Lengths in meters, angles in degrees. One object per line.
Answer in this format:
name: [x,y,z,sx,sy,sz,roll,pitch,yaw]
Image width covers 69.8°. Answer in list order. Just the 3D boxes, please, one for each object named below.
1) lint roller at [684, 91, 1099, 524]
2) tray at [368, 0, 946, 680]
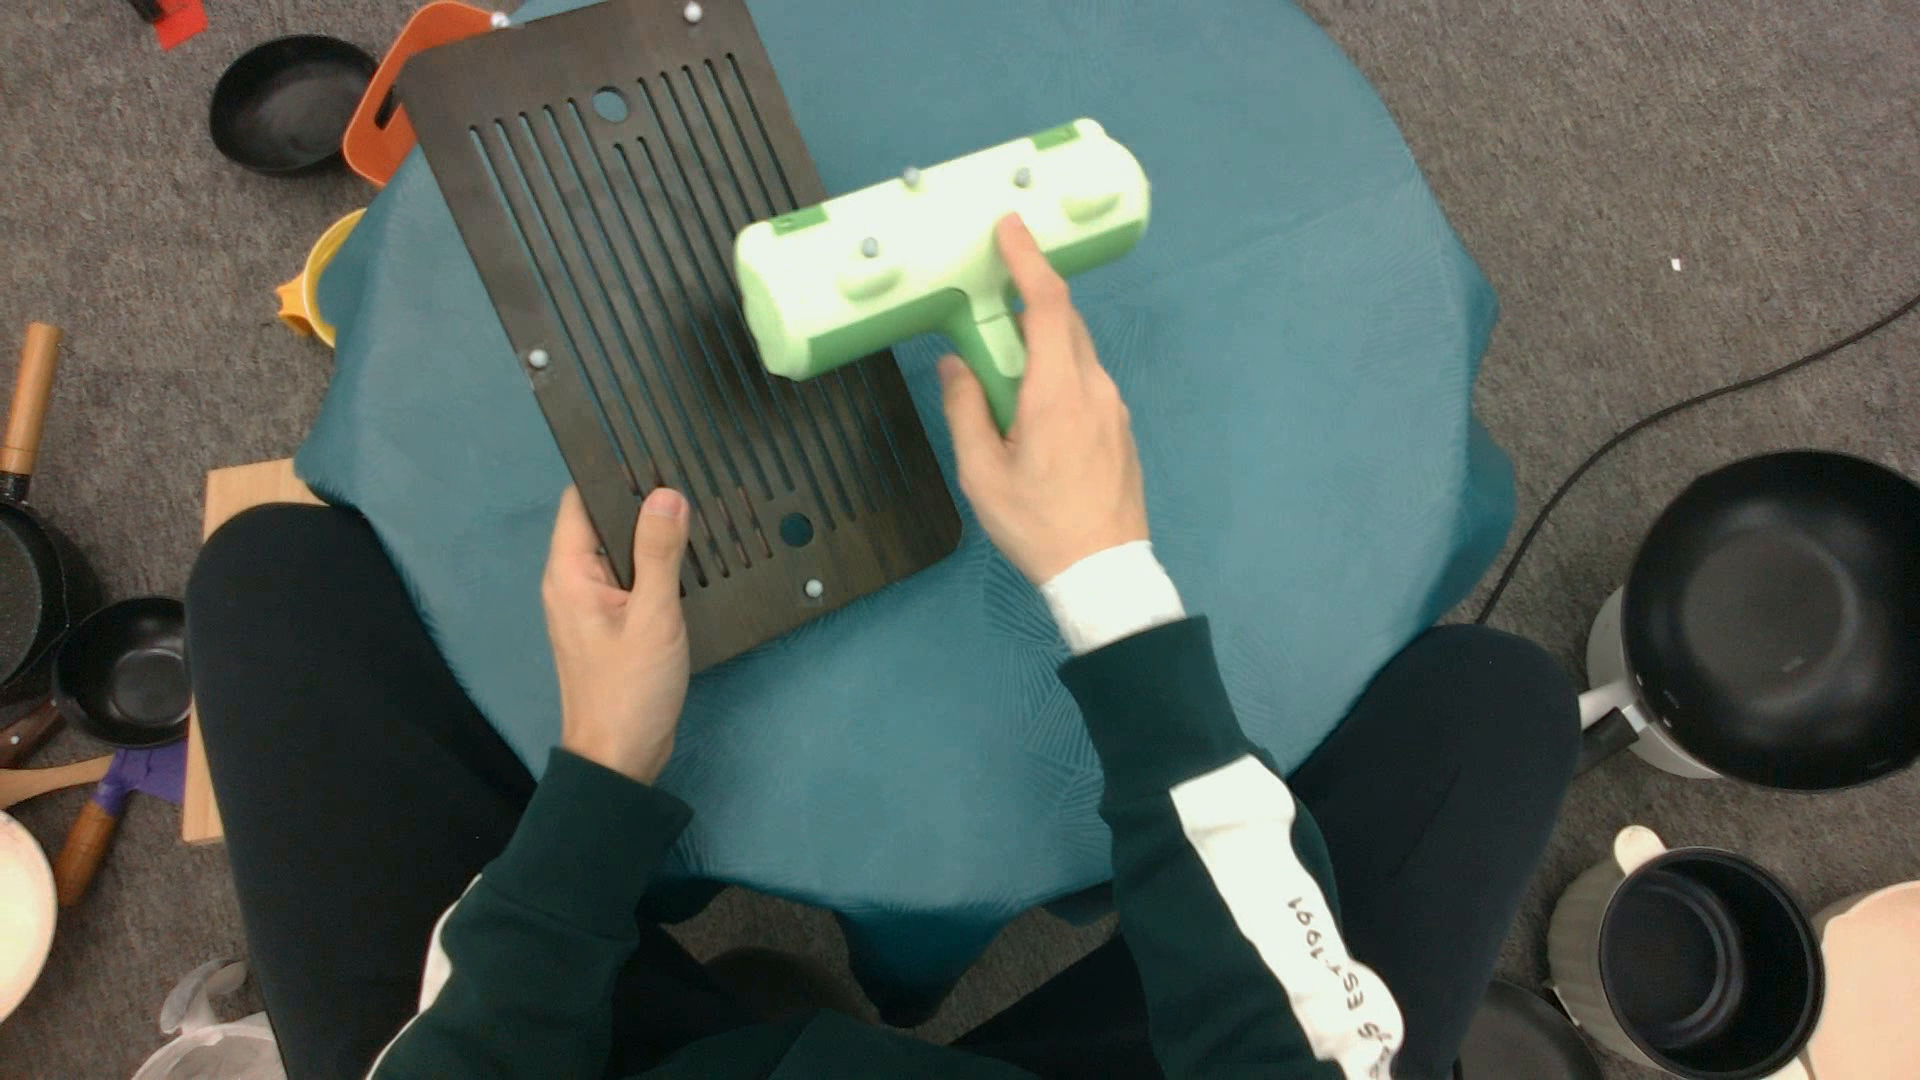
lint roller: [0.004,-0.096,0.610,0.199,0.082,0.183,-28,84,-25]
tray: [-0.134,-0.102,0.654,0.170,0.018,0.305,-26,99,-22]
